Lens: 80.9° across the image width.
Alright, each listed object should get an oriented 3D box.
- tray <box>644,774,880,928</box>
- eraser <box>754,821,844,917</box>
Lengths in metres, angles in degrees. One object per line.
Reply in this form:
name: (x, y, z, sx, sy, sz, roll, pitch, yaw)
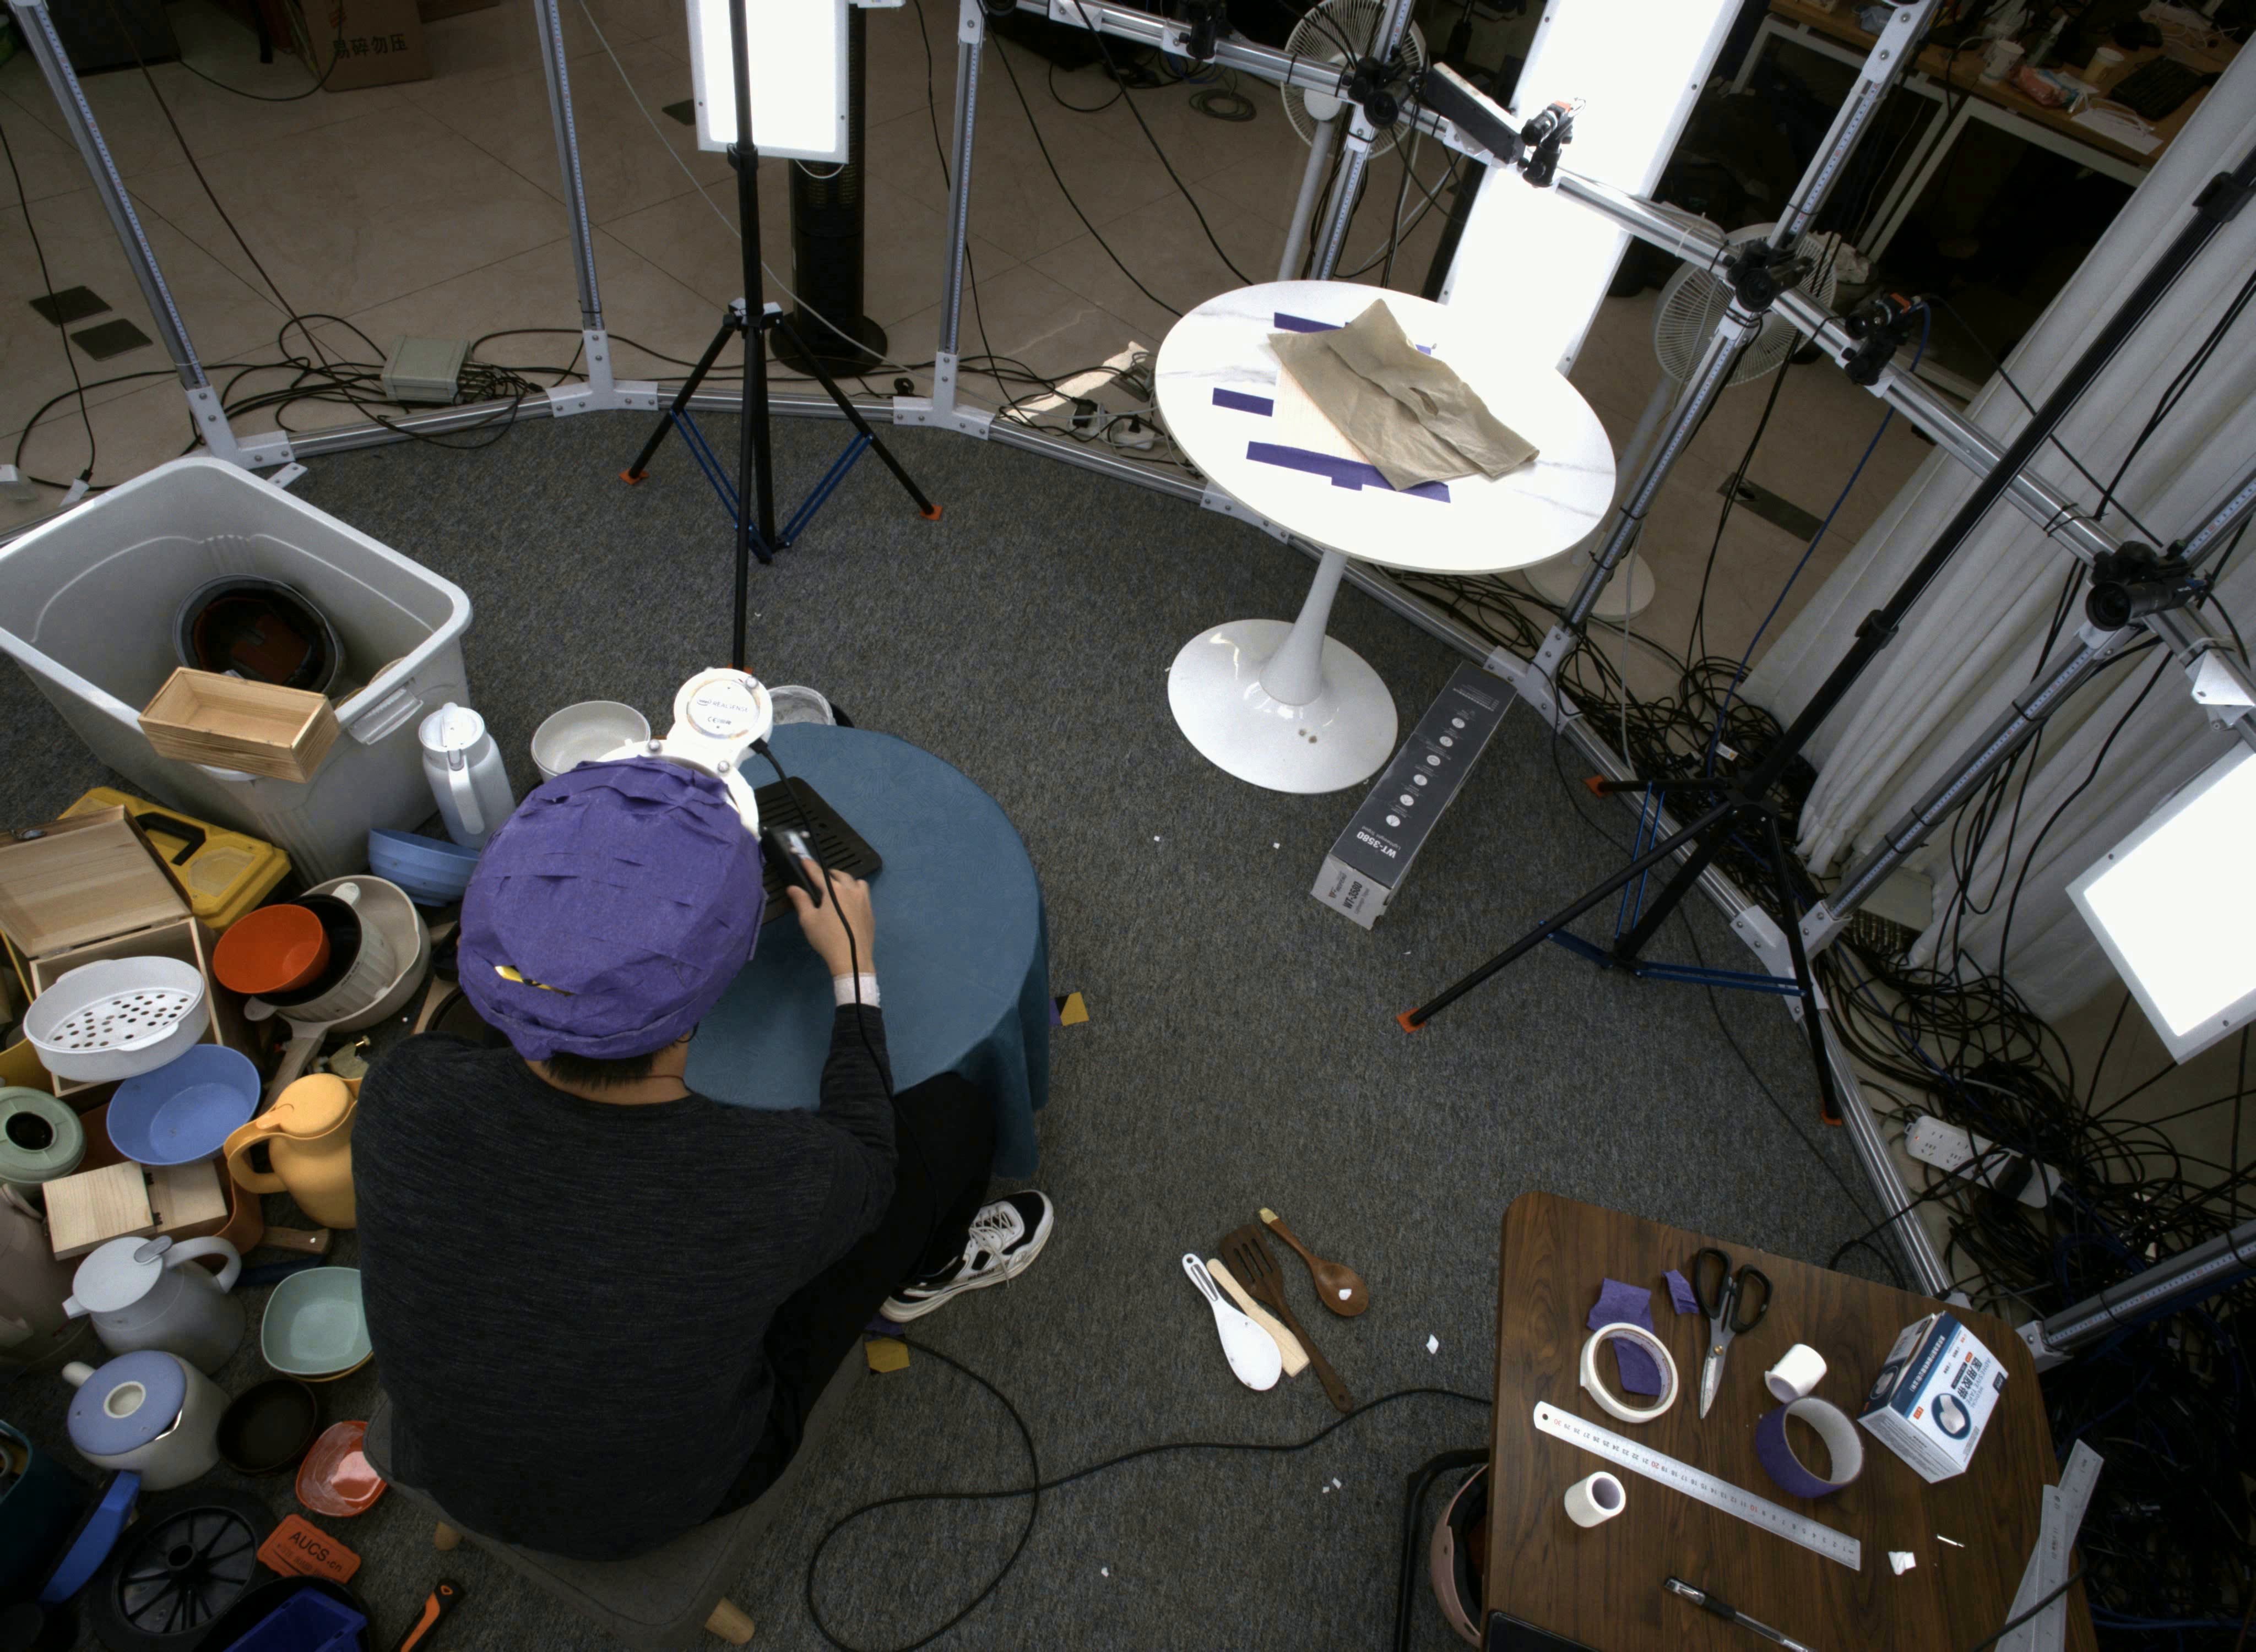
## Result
tray: (-0.438, 0.025, 1.575, 0.169, 0.018, 0.307, 45, 24, 5)
eraser: (-0.395, 0.049, 1.551, 0.123, 0.030, 0.054, 52, 28, 16)
